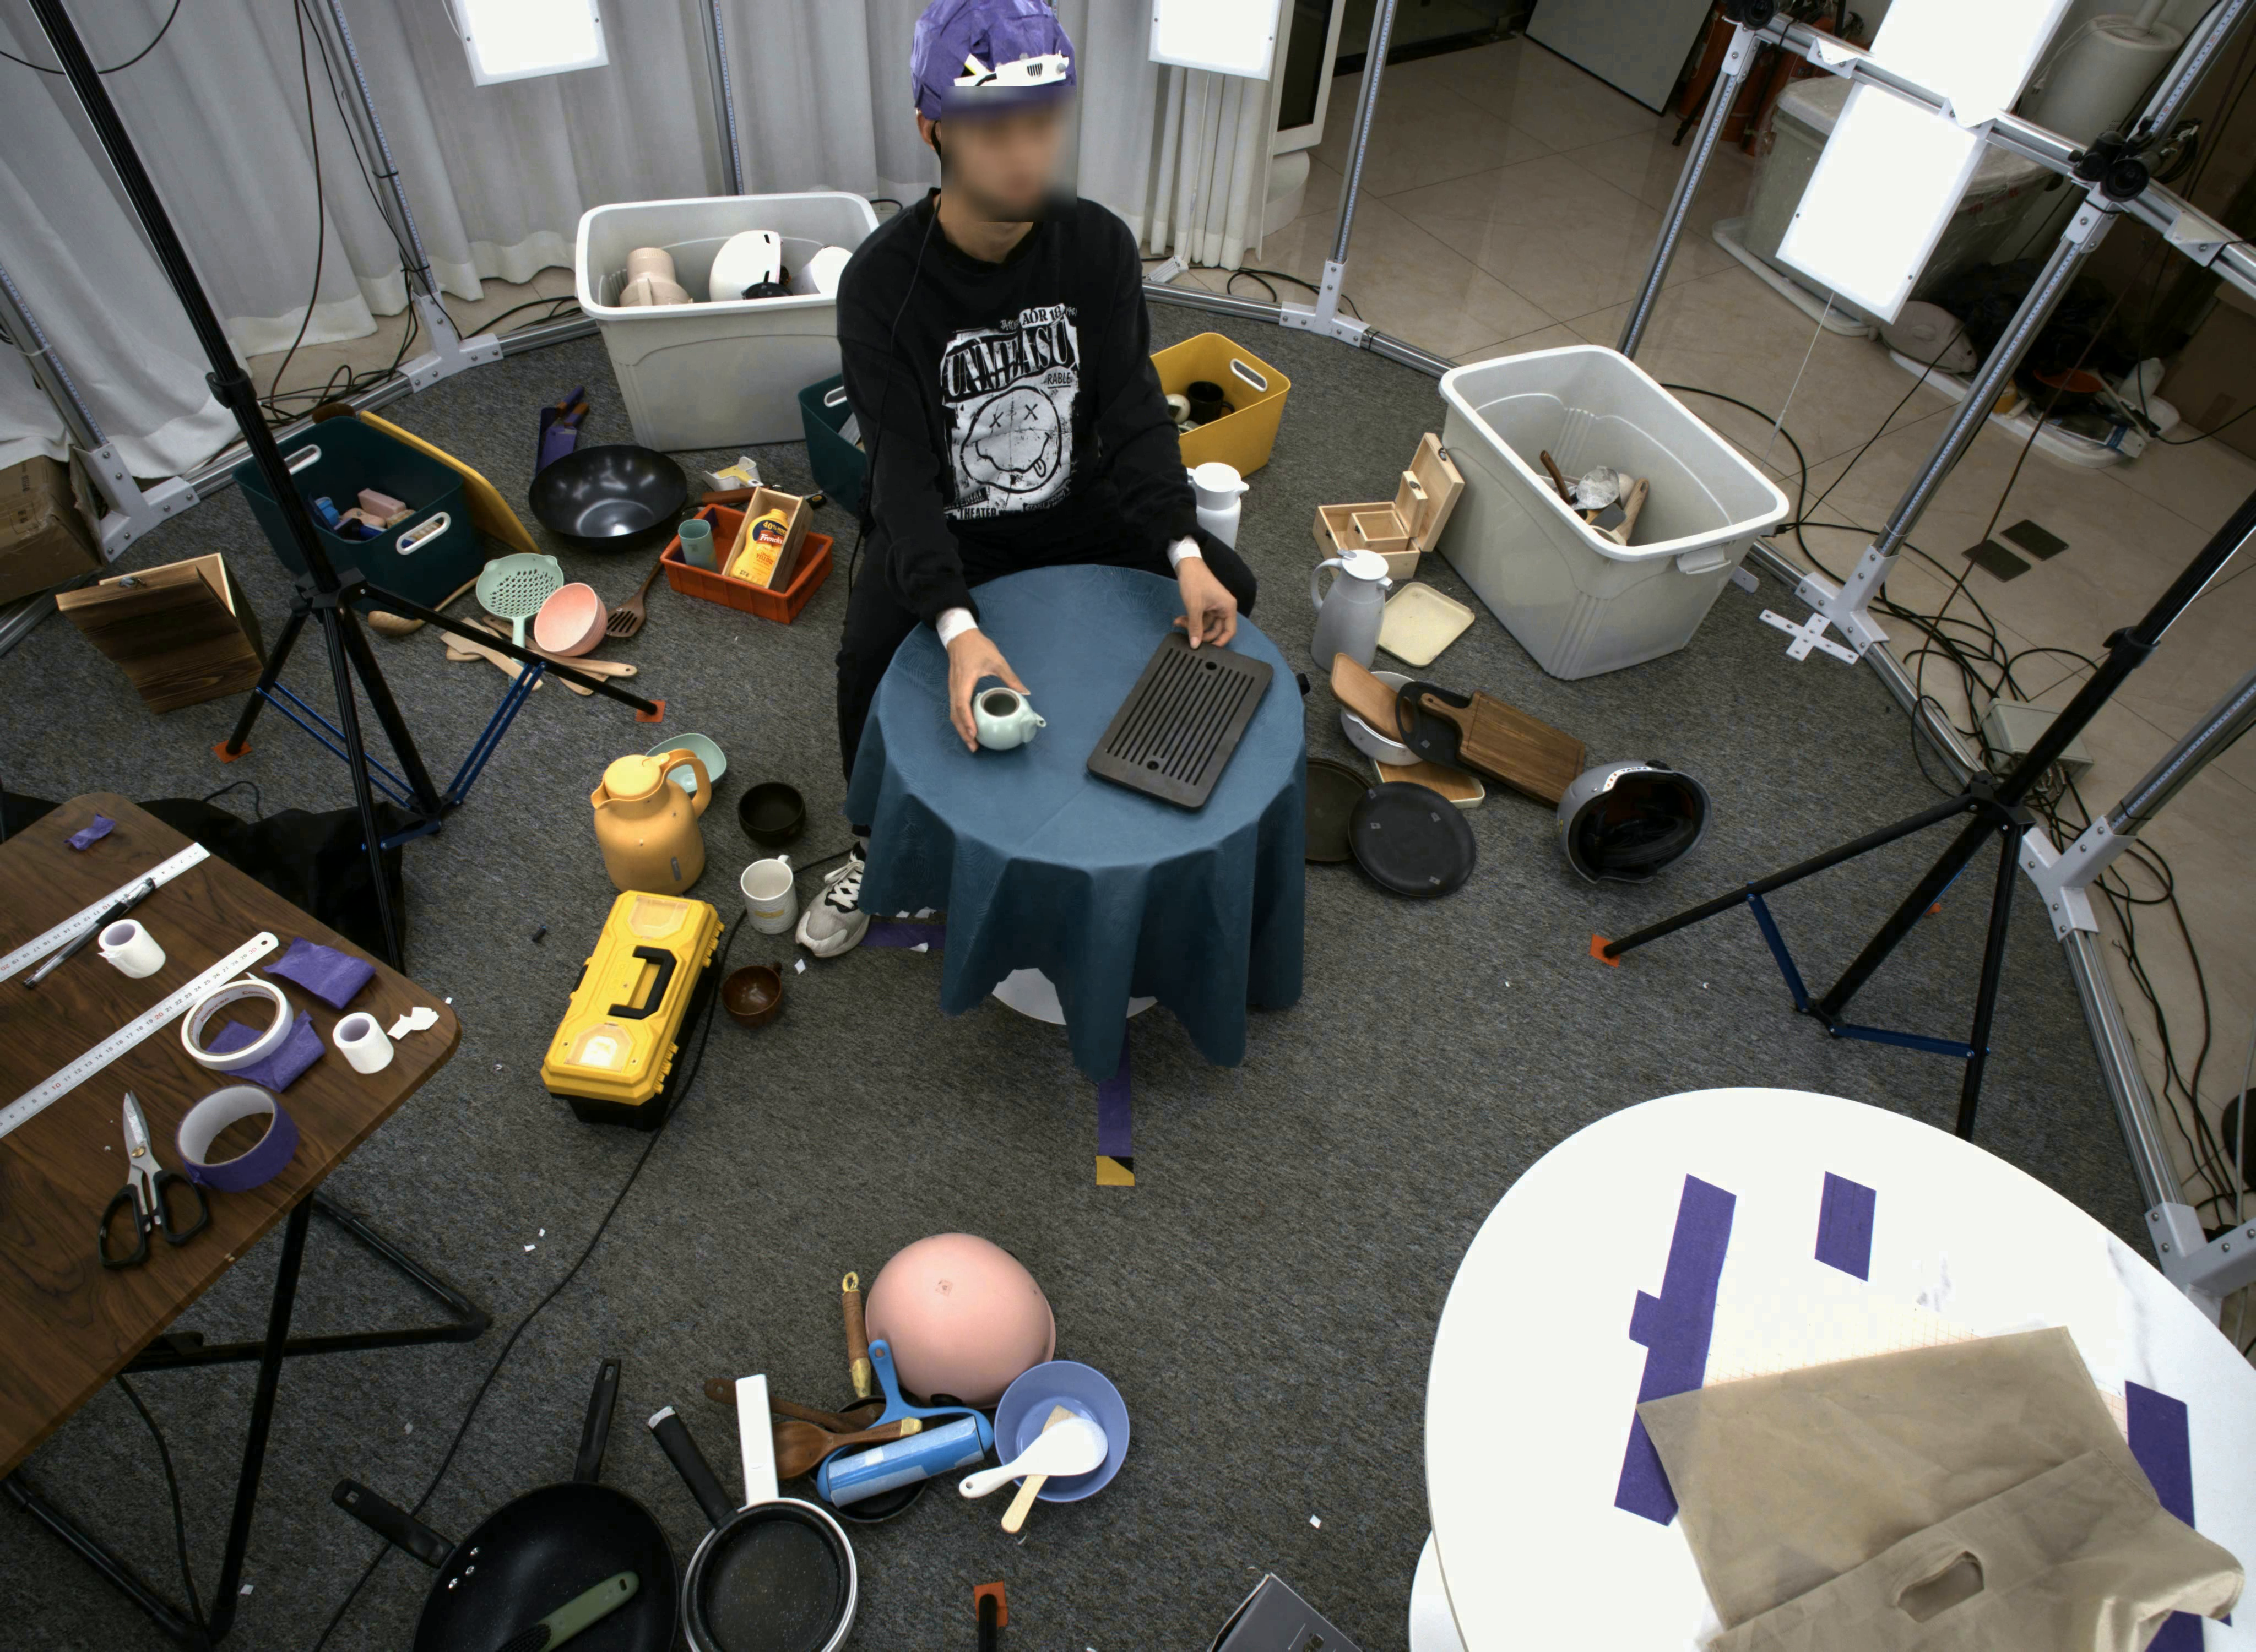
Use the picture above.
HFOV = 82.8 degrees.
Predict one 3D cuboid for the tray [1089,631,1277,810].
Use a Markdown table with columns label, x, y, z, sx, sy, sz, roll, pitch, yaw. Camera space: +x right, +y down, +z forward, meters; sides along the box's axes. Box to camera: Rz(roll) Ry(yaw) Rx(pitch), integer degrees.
| label | x | y | z | sx | sy | sz | roll | pitch | yaw |
| --- | --- | --- | --- | --- | --- | --- | --- | --- | --- |
| tray | 0.082 | -0.152 | 1.793 | 0.171 | 0.018 | 0.311 | 20 | 51 | 13 |

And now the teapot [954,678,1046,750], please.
| label | x | y | z | sx | sy | sz | roll | pitch | yaw |
| --- | --- | --- | --- | --- | --- | --- | --- | --- | --- |
| teapot | -0.174 | -0.147 | 1.739 | 0.145 | 0.073 | 0.089 | 29 | 53 | 17 |
